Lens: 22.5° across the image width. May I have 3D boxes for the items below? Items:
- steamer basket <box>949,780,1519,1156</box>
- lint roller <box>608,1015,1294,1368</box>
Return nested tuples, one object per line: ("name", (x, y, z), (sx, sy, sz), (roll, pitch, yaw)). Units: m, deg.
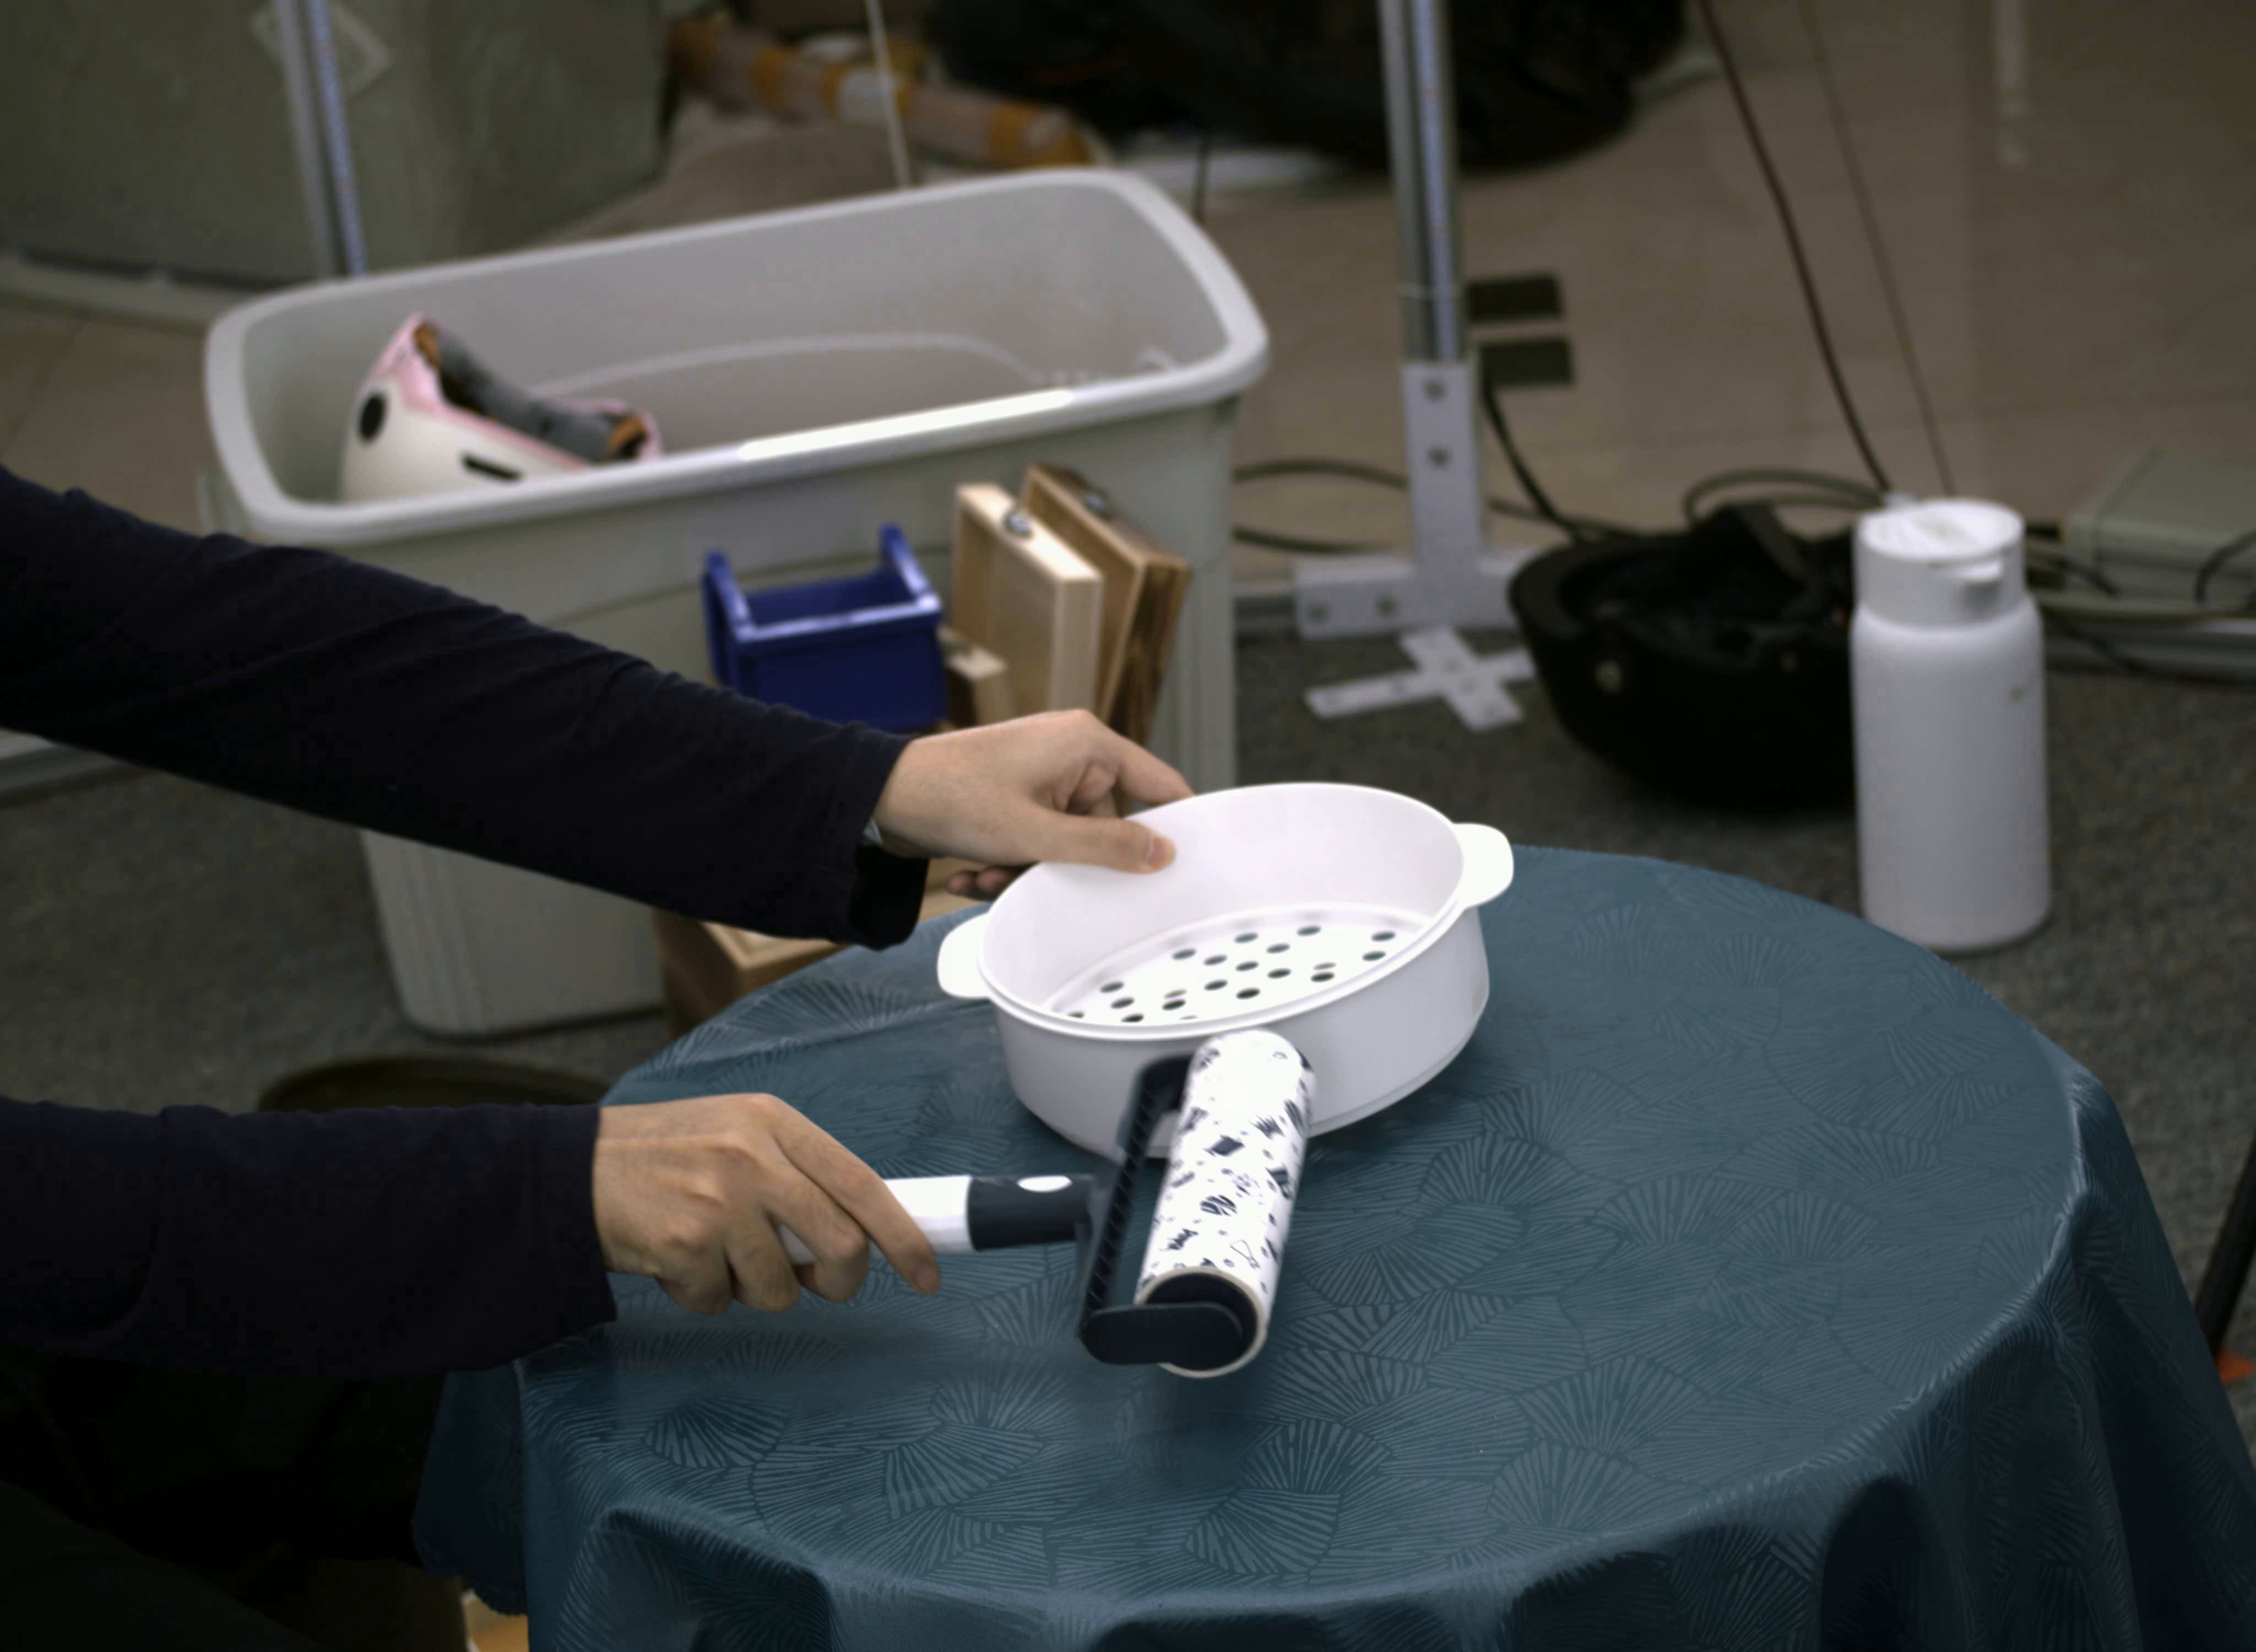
("steamer basket", (0.048, 0.059, 2.221), (0.230, 0.070, 0.199), (-14, 26, 8))
("lint roller", (-0.069, 0.137, 2.038), (0.247, 0.051, 0.173), (-5, 30, 10))
